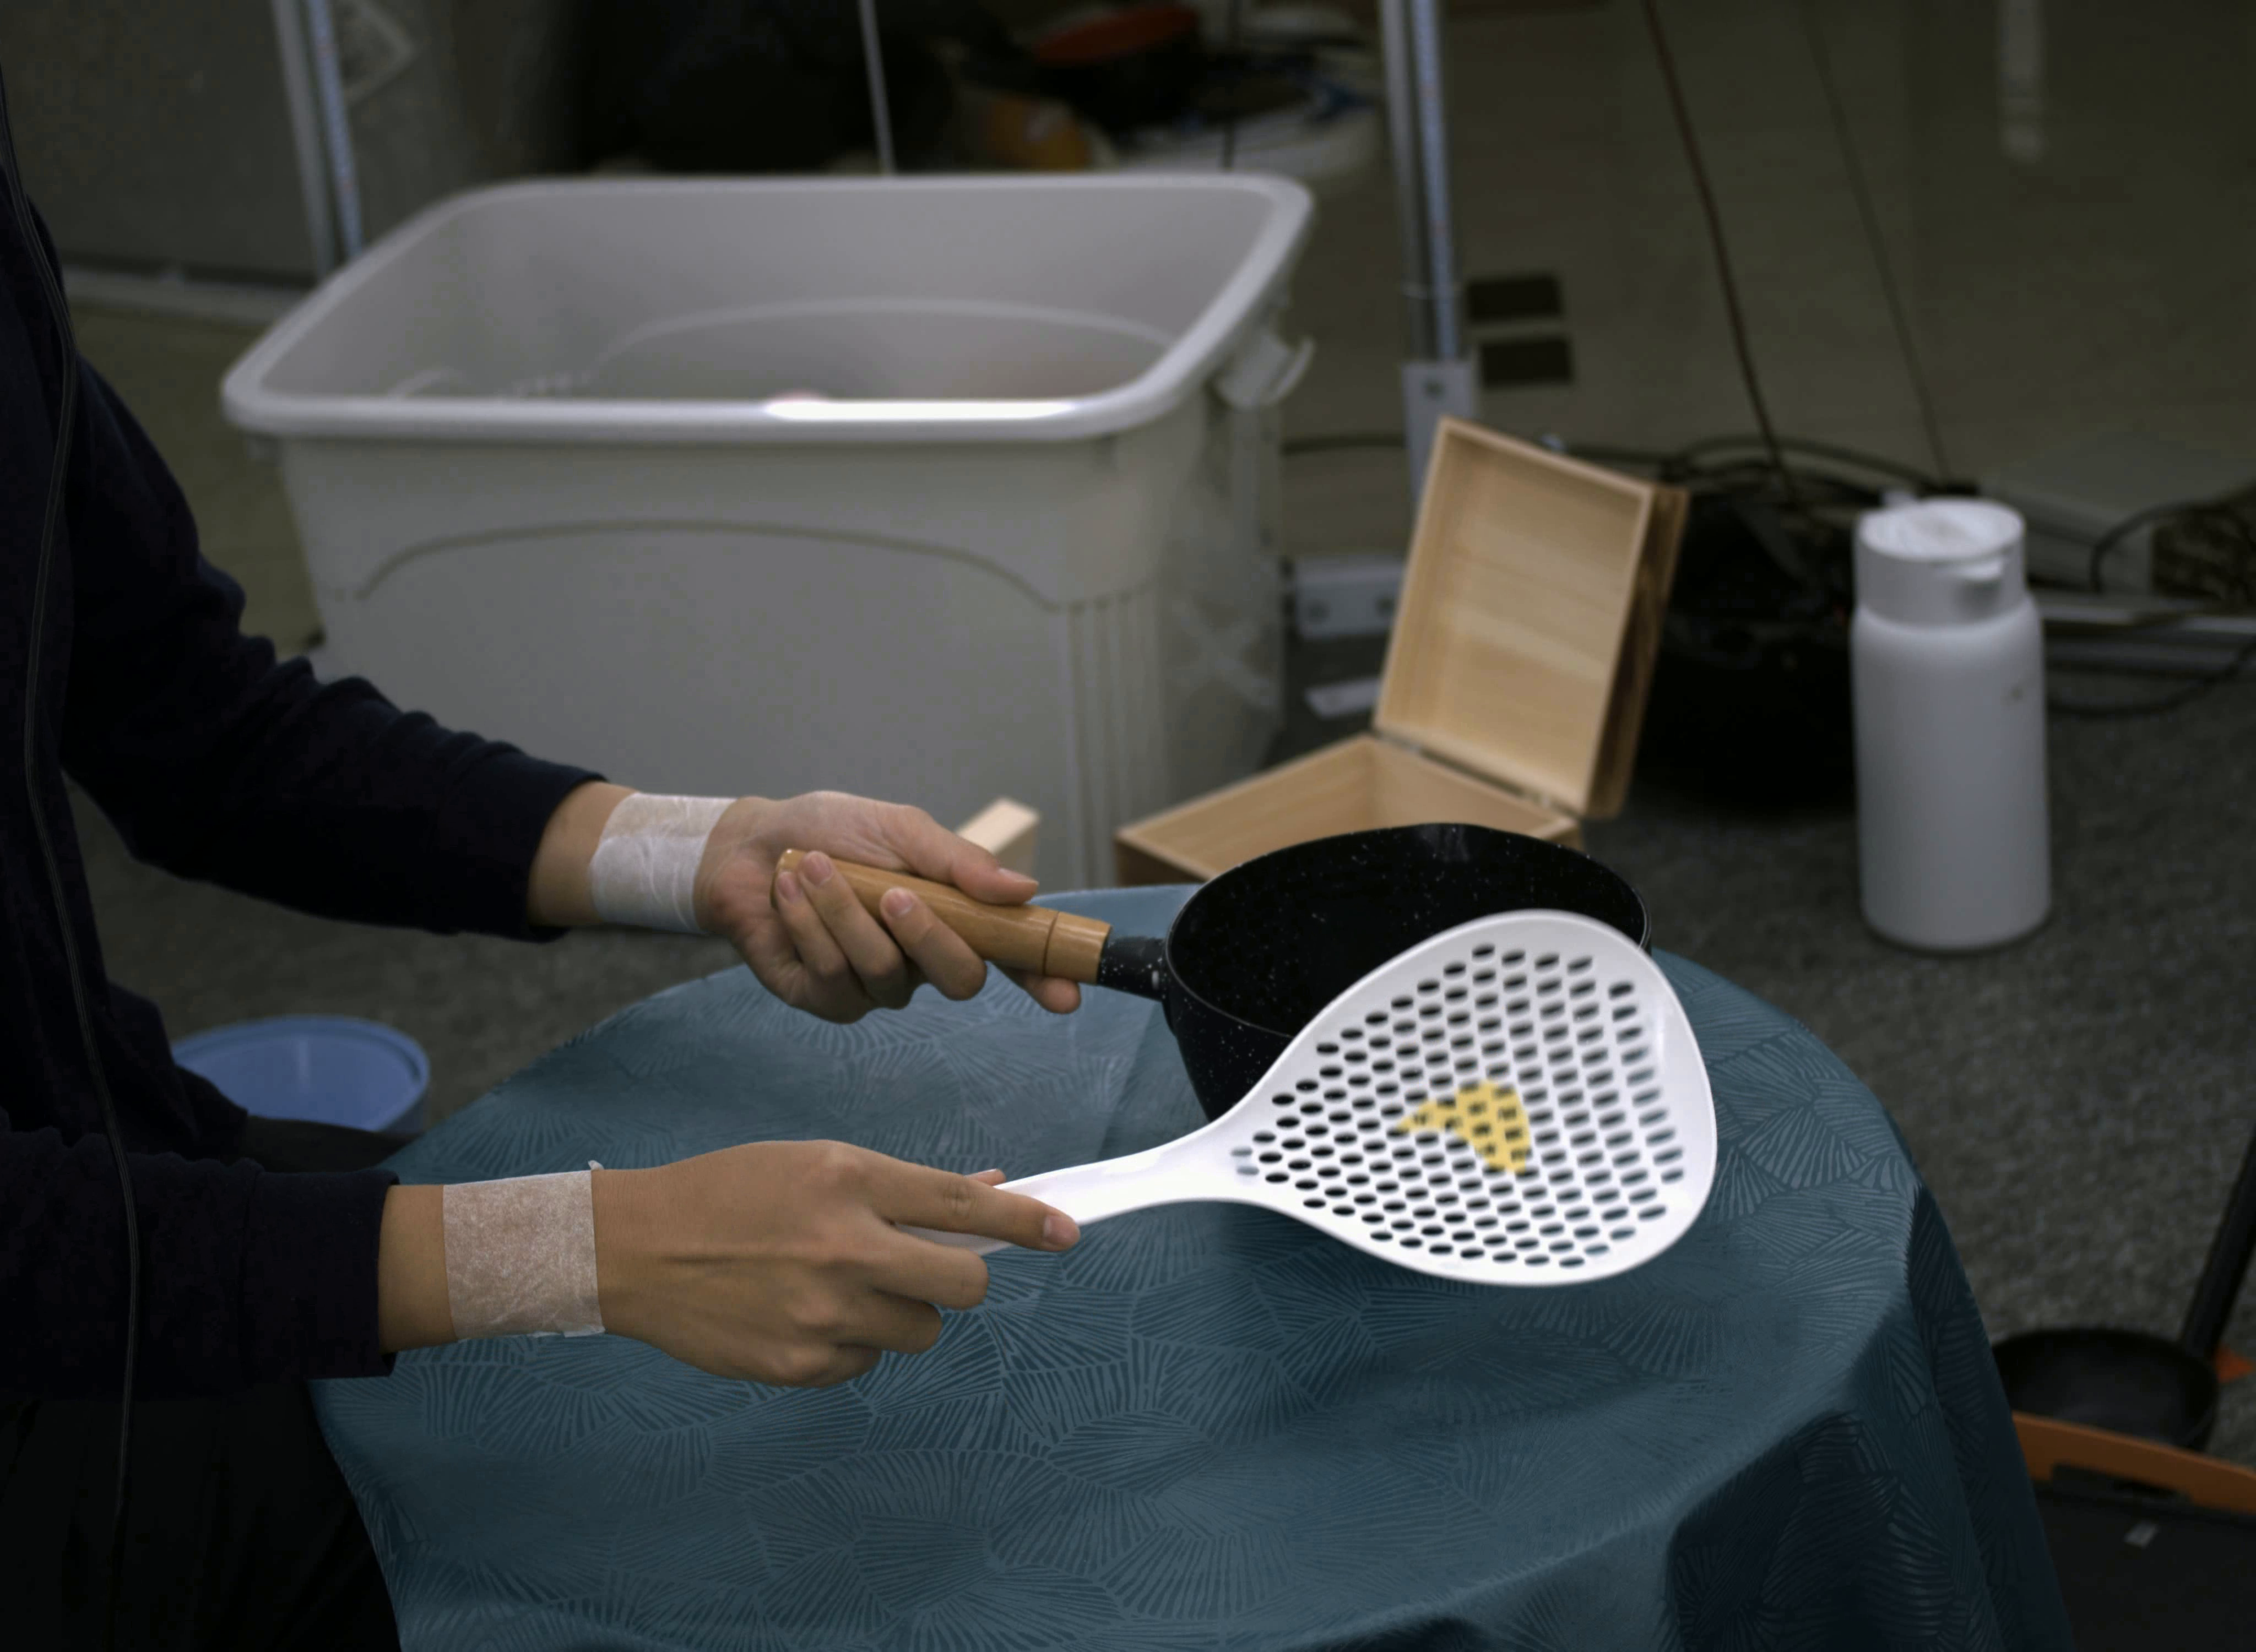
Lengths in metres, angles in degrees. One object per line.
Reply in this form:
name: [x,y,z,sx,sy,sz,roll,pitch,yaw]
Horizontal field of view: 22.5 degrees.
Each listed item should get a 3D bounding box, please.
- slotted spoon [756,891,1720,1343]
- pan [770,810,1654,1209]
slotted spoon: [0.038,0.119,1.962,0.346,0.136,0.050,-13,-8,-20]
pan: [0.030,0.064,2.162,0.342,0.110,0.204,3,27,12]
